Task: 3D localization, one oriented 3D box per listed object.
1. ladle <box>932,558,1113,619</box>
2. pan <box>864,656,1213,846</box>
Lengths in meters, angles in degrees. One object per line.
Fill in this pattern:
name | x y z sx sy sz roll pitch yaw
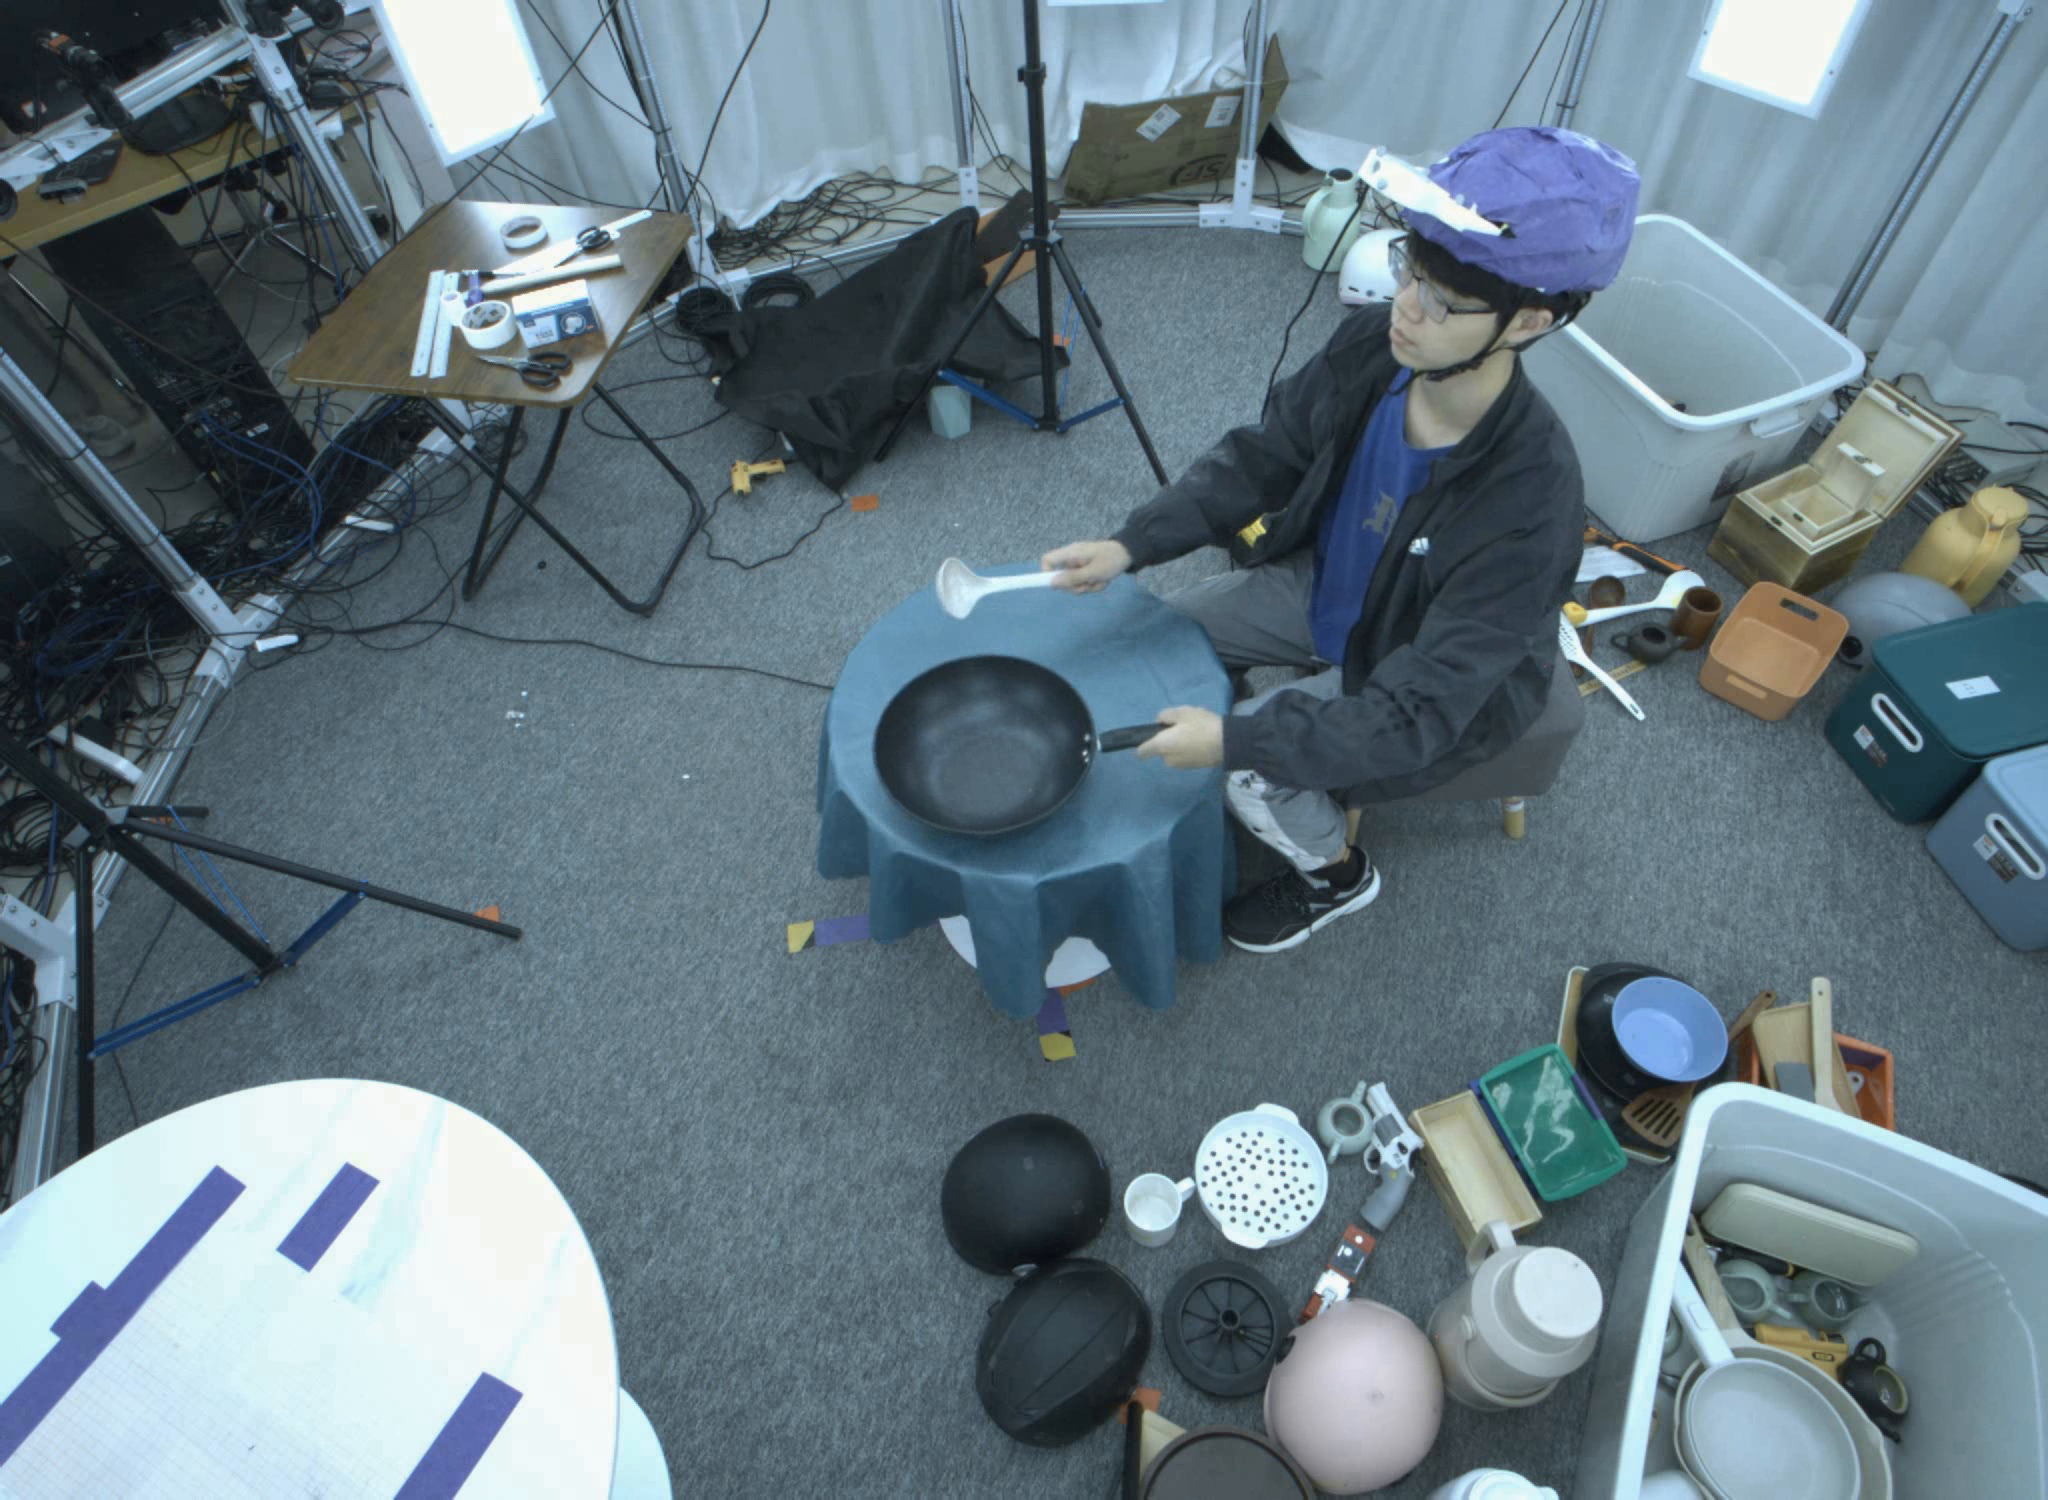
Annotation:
ladle | 0.002 -0.245 1.785 0.277 0.069 0.089 -7 86 -11
pan | 0.020 0.007 1.703 0.476 0.113 0.307 -1 56 3
